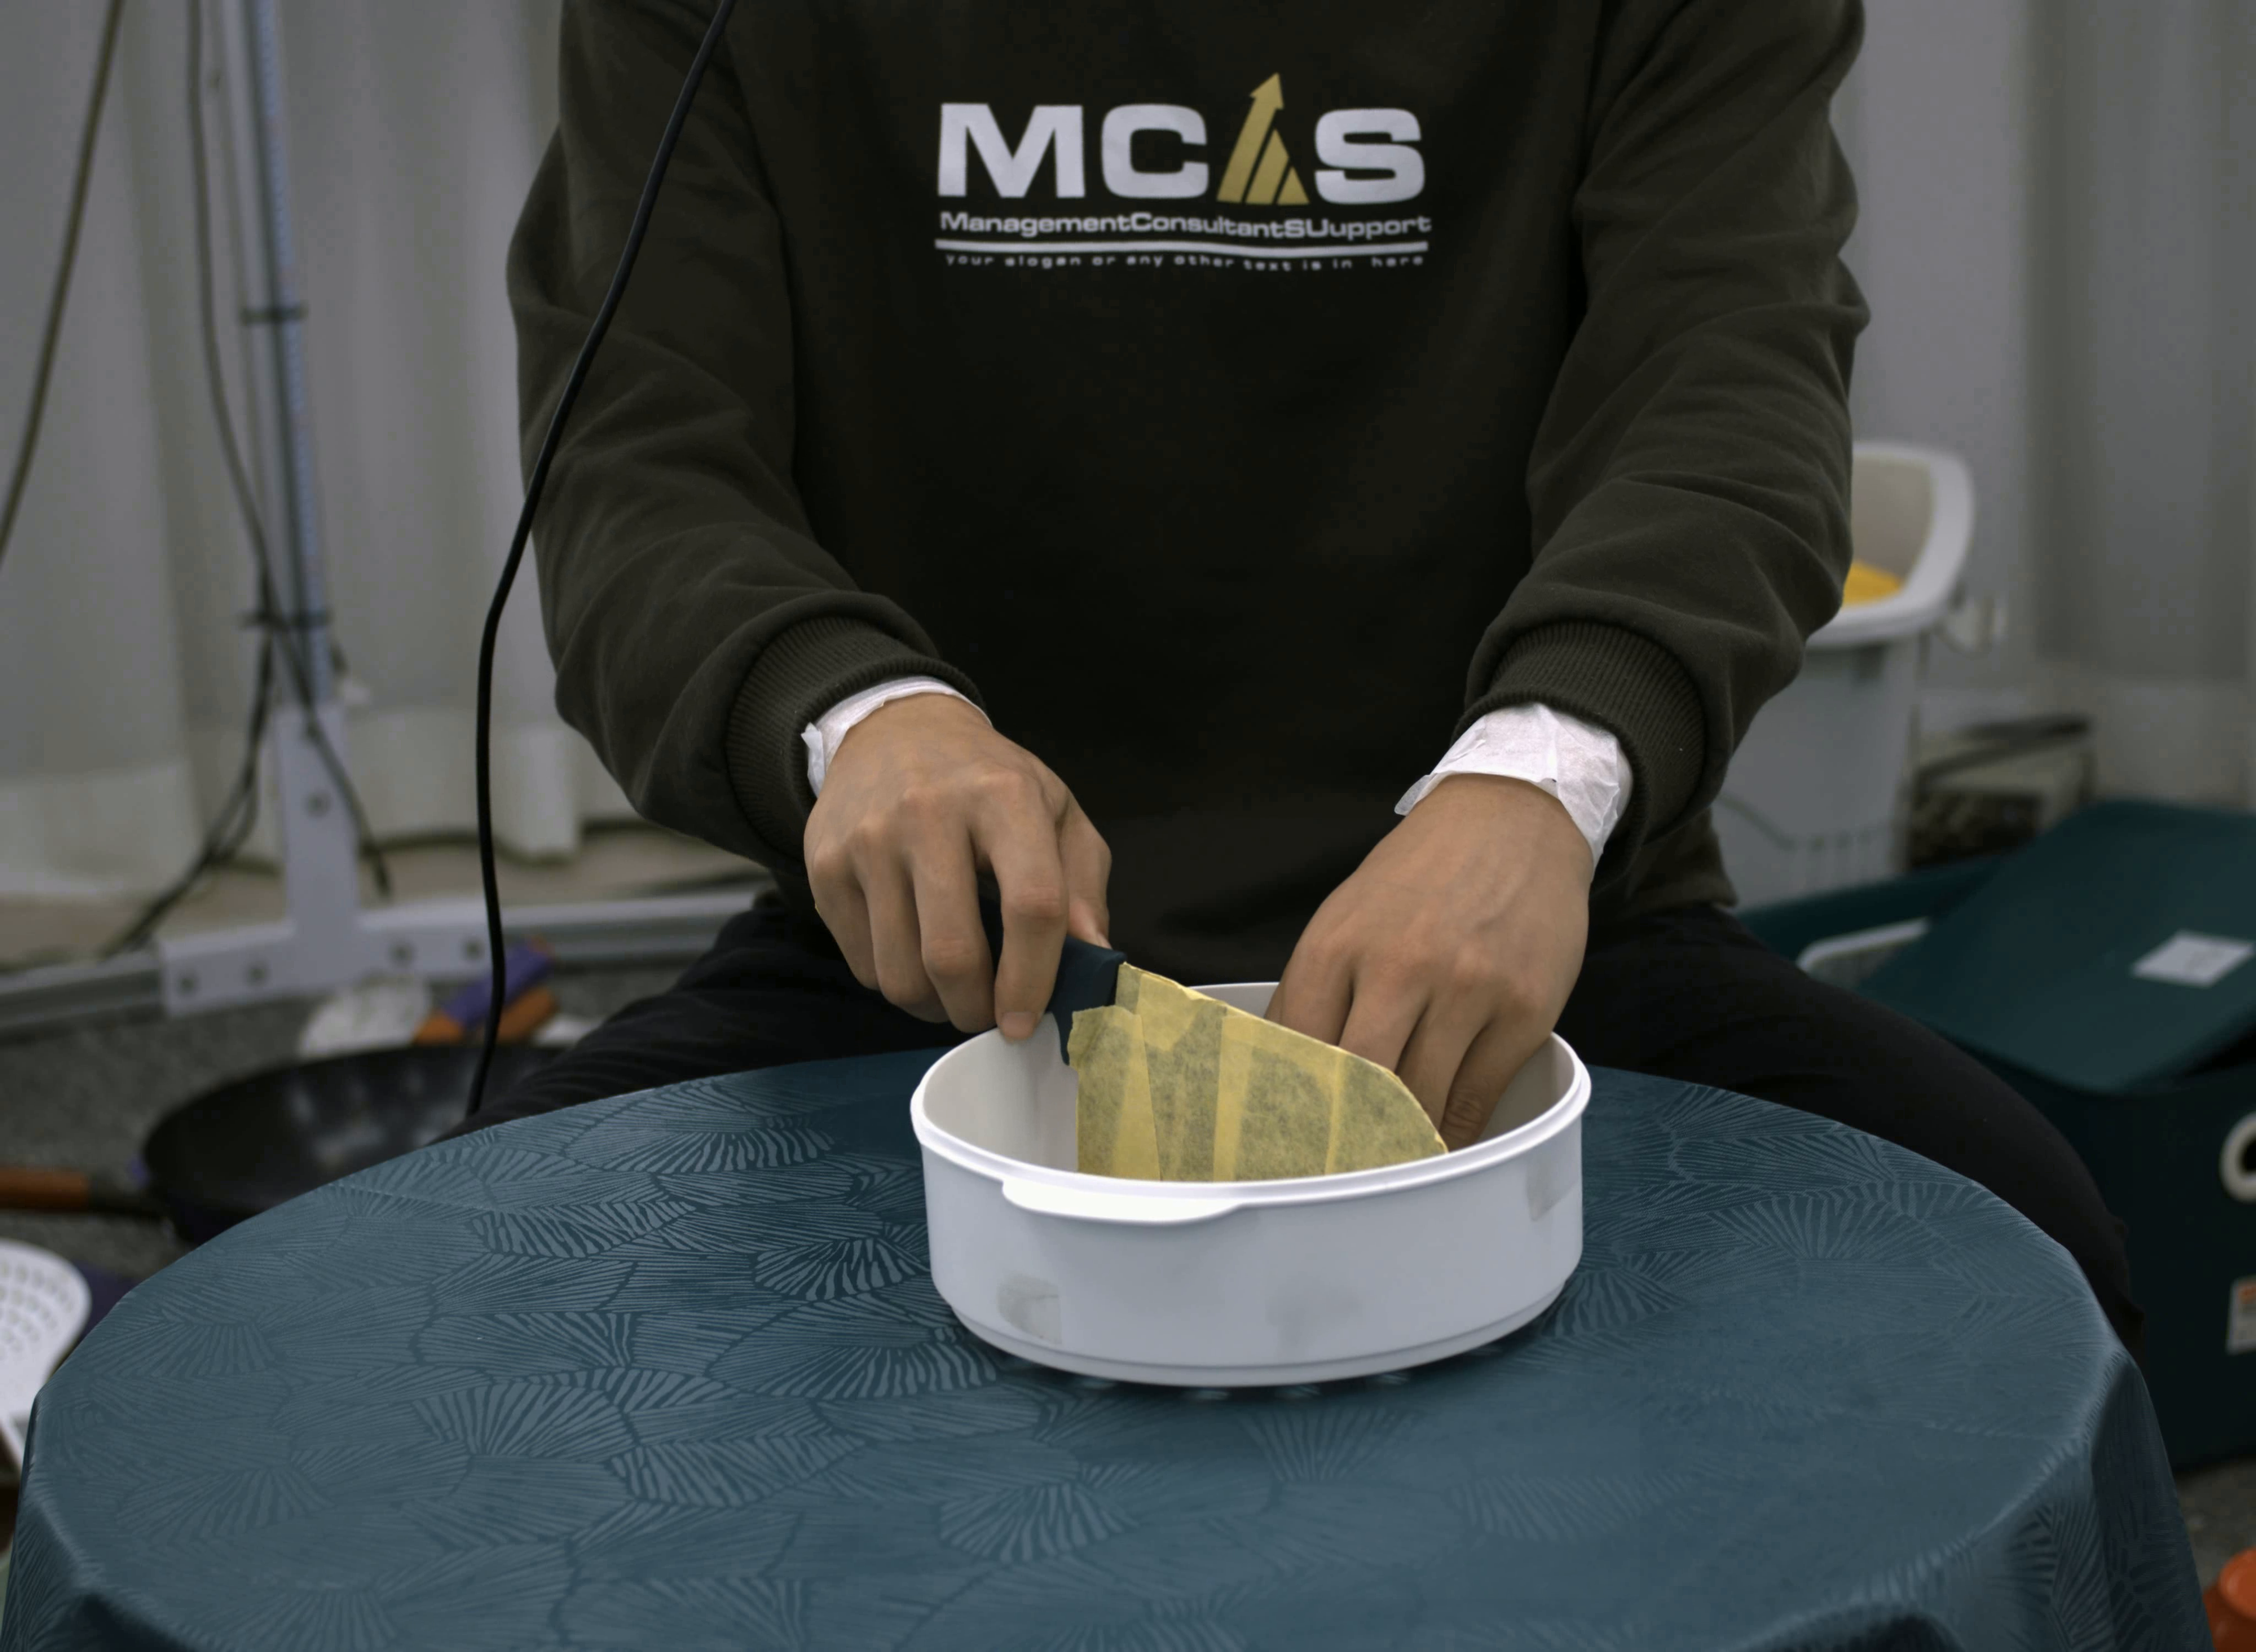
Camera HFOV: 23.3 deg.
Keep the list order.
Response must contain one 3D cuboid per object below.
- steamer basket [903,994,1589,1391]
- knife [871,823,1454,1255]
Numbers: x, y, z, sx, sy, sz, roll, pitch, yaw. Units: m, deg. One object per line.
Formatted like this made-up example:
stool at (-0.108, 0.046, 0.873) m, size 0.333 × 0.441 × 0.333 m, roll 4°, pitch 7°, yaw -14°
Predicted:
steamer basket at (0.035, 0.107, 1.609) m, size 0.202 × 0.069 × 0.231 m, roll 5°, pitch 15°, yaw 24°
knife at (0.007, 0.066, 1.646) m, size 0.027 × 0.080 × 0.292 m, roll -3°, pitch 23°, yaw -37°
